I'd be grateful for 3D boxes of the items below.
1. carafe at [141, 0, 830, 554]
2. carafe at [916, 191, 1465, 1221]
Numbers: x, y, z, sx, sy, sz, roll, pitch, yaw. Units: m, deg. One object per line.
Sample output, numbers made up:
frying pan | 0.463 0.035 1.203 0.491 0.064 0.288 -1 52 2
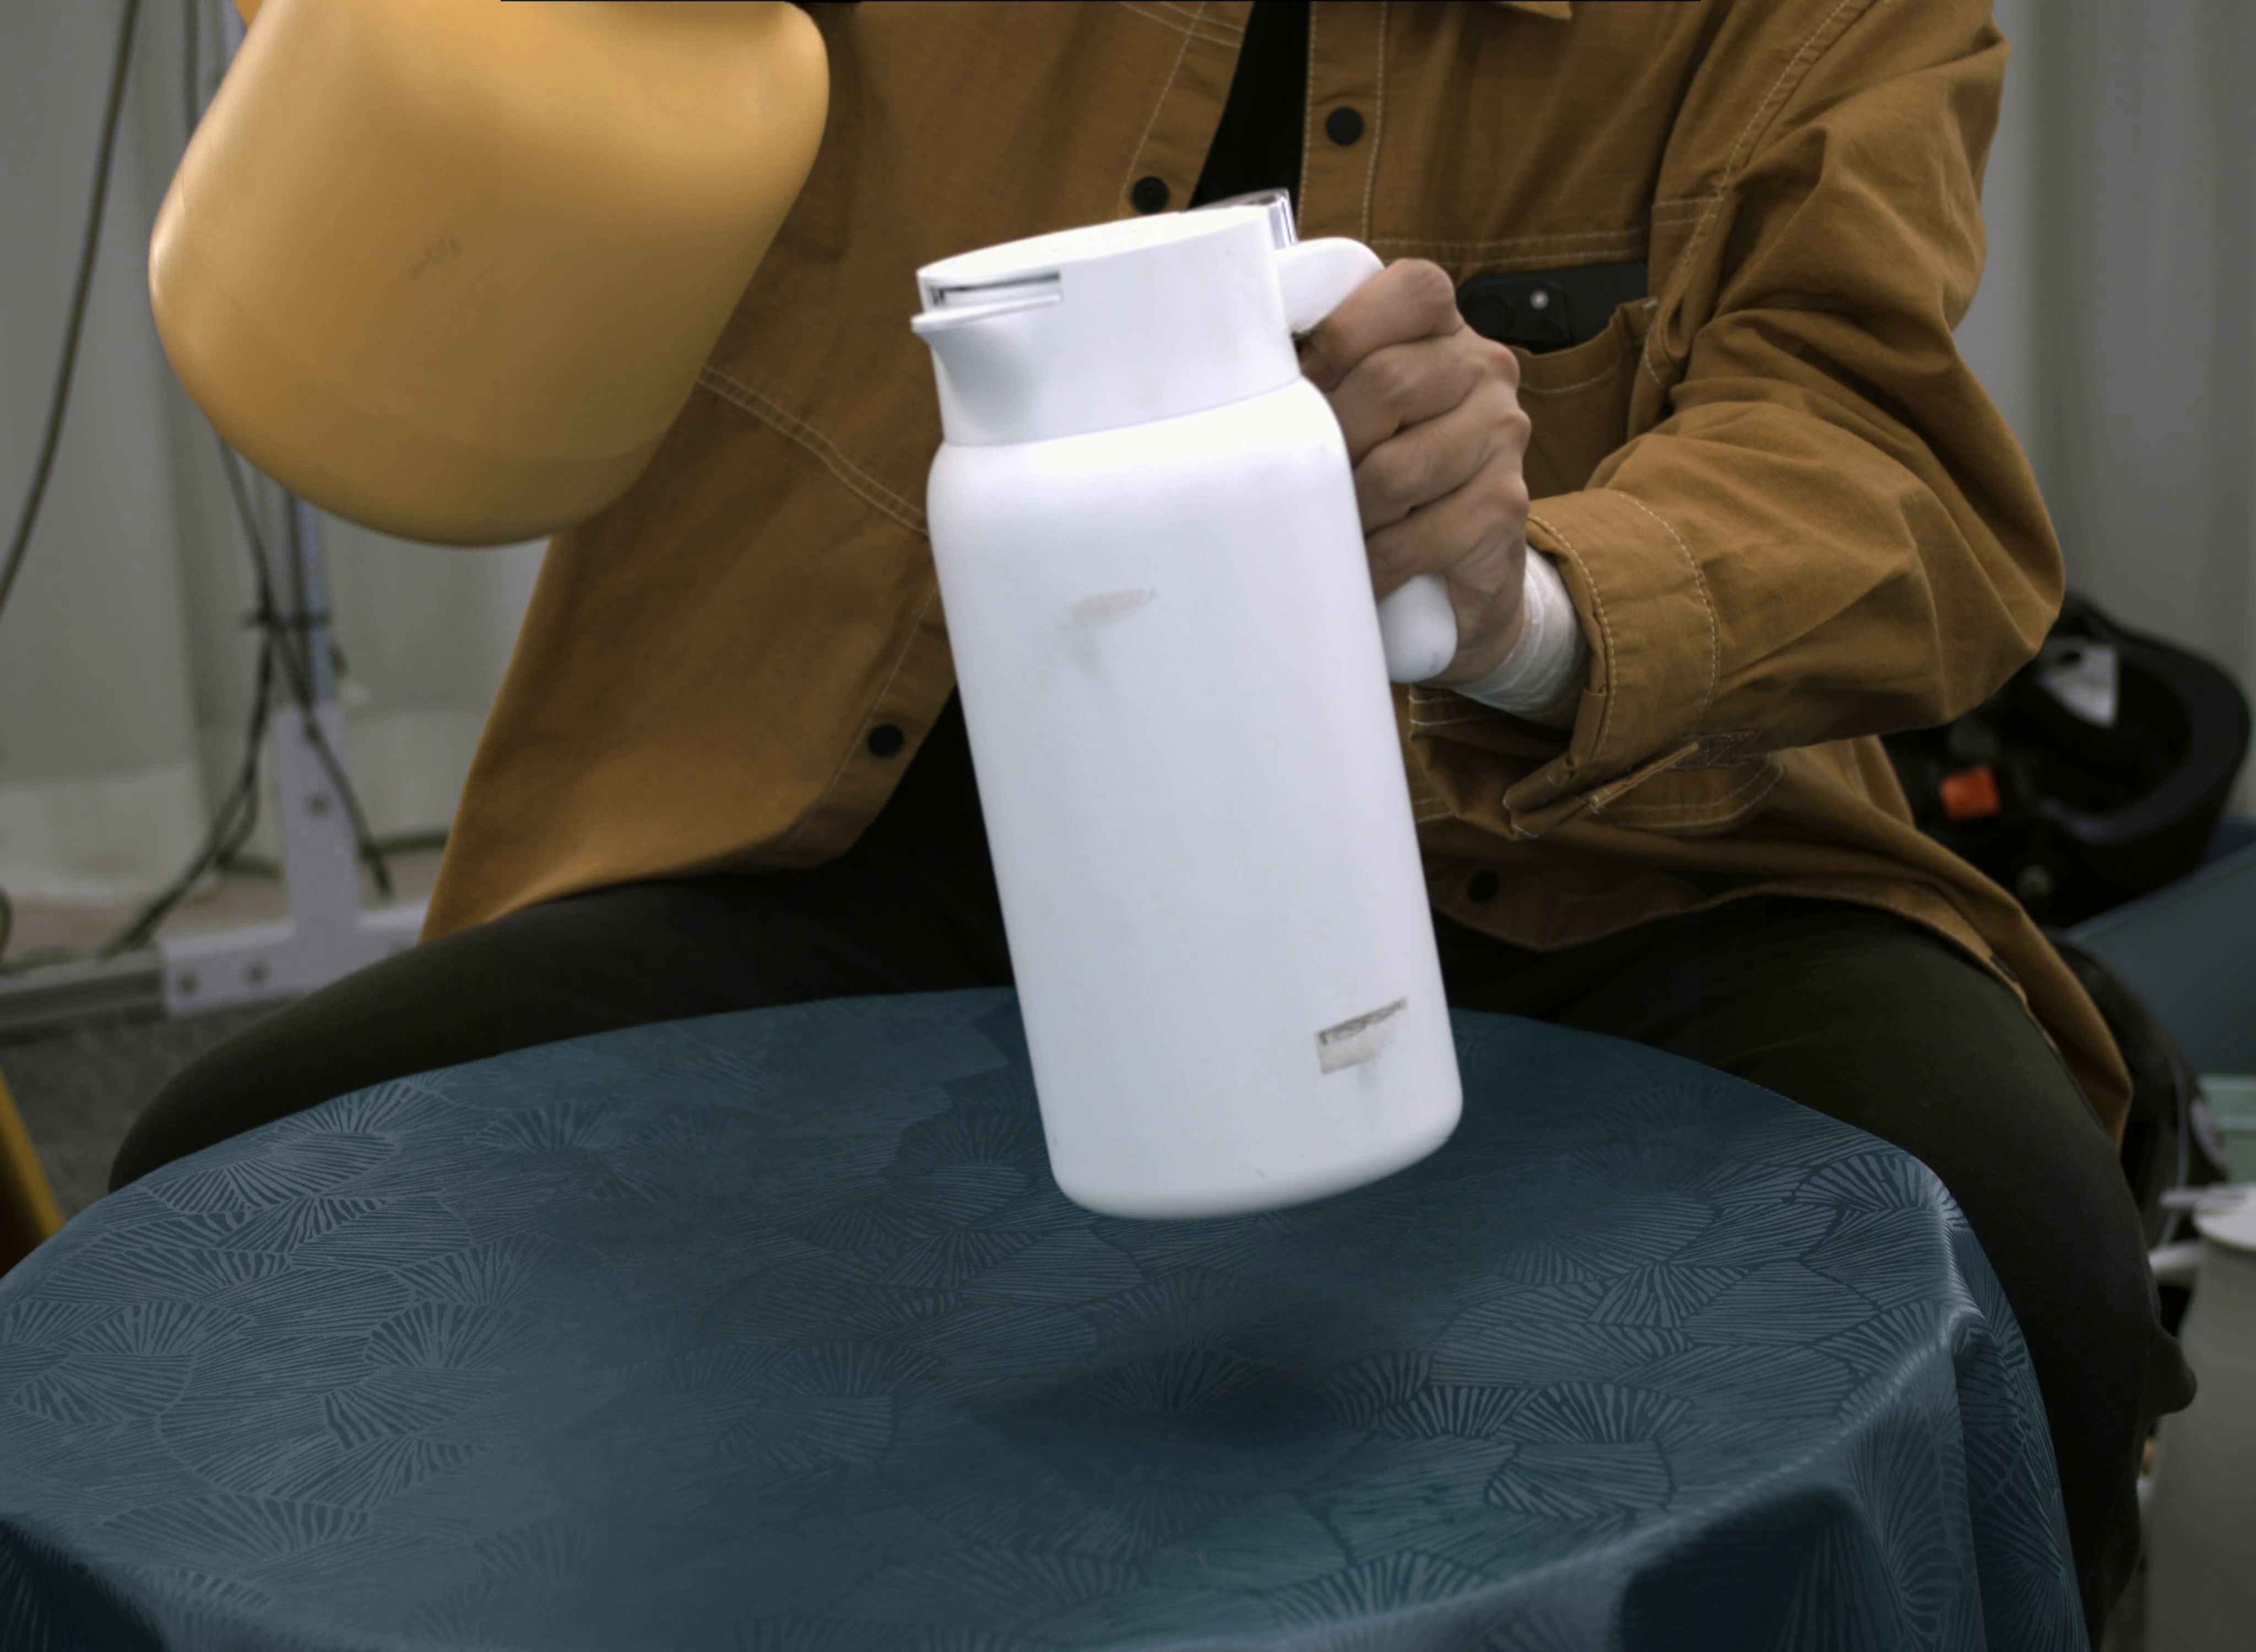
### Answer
carafe | -0.183 -0.226 1.582 0.203 0.258 0.164 41 33 9
carafe | 0.025 -0.037 1.520 0.124 0.268 0.172 -4 11 45
